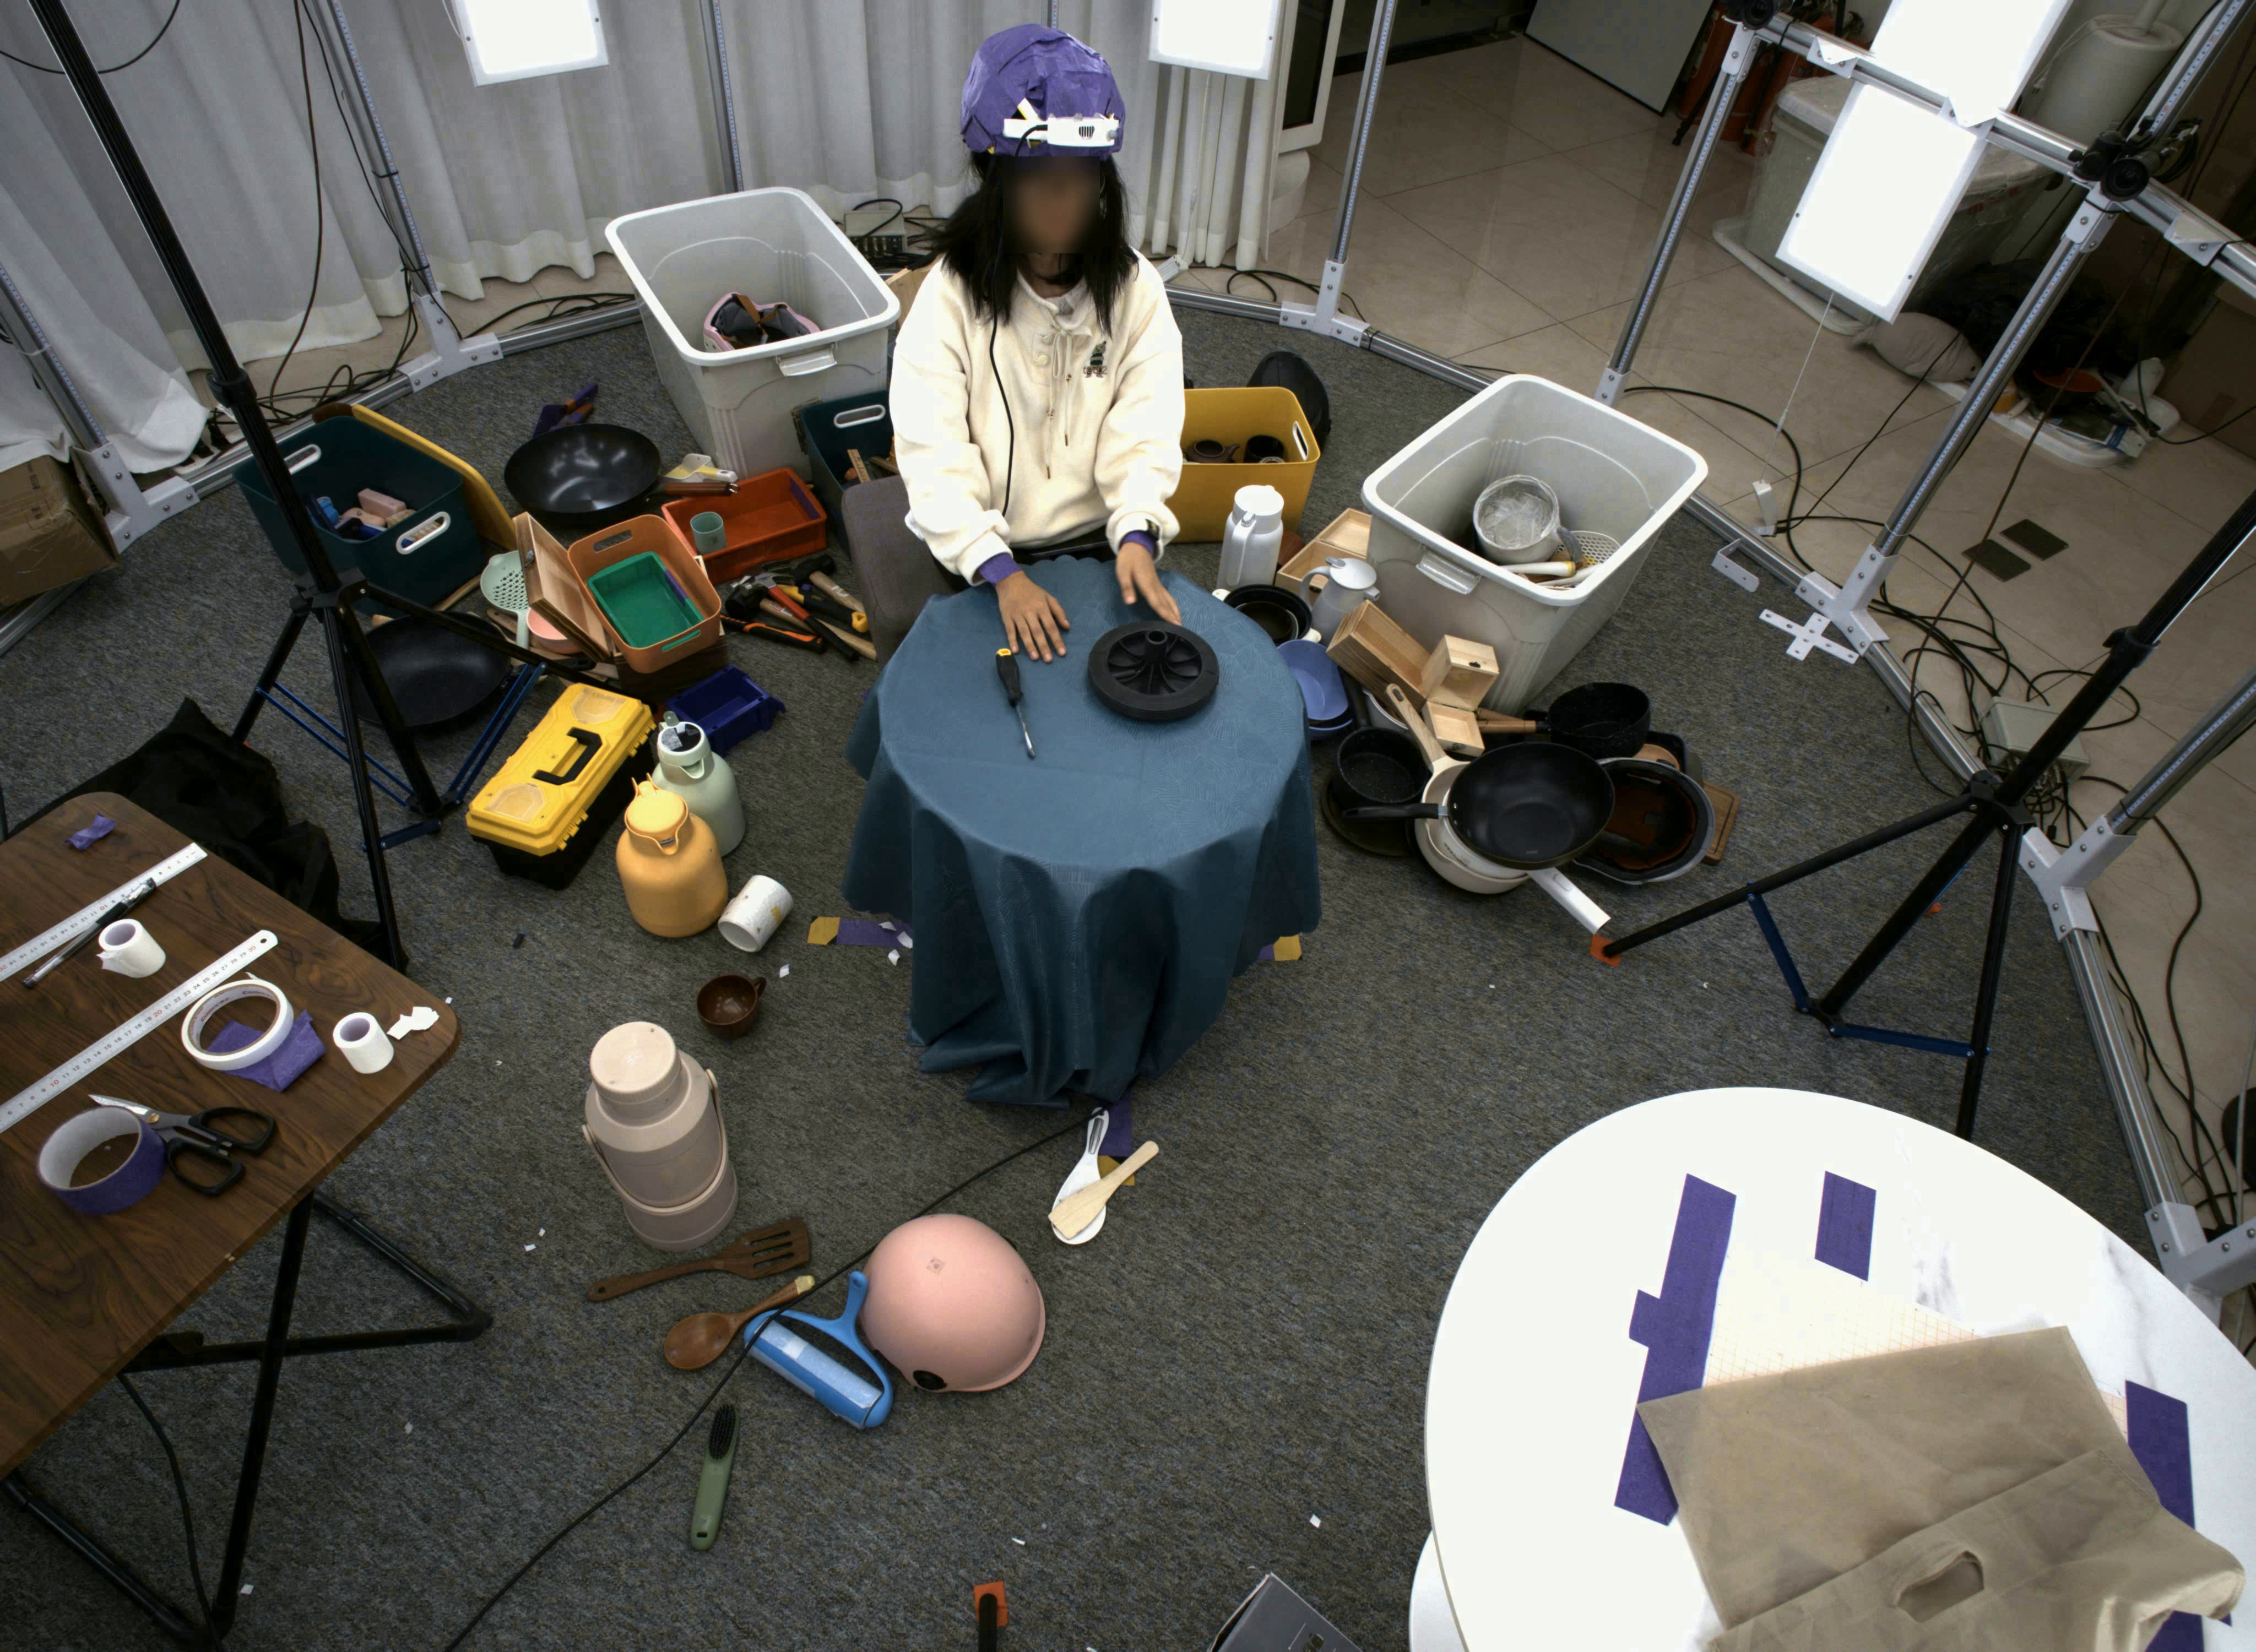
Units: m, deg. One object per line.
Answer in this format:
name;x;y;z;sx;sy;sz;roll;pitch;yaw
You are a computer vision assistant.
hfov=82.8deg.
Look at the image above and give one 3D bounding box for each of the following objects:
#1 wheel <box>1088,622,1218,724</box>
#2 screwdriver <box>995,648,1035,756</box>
wheel;0.036;-0.235;1.829;0.191;0.077;0.190;-35;59;-26
screwdriver;-0.159;-0.173;1.794;0.031;0.031;0.203;-7;53;-11
